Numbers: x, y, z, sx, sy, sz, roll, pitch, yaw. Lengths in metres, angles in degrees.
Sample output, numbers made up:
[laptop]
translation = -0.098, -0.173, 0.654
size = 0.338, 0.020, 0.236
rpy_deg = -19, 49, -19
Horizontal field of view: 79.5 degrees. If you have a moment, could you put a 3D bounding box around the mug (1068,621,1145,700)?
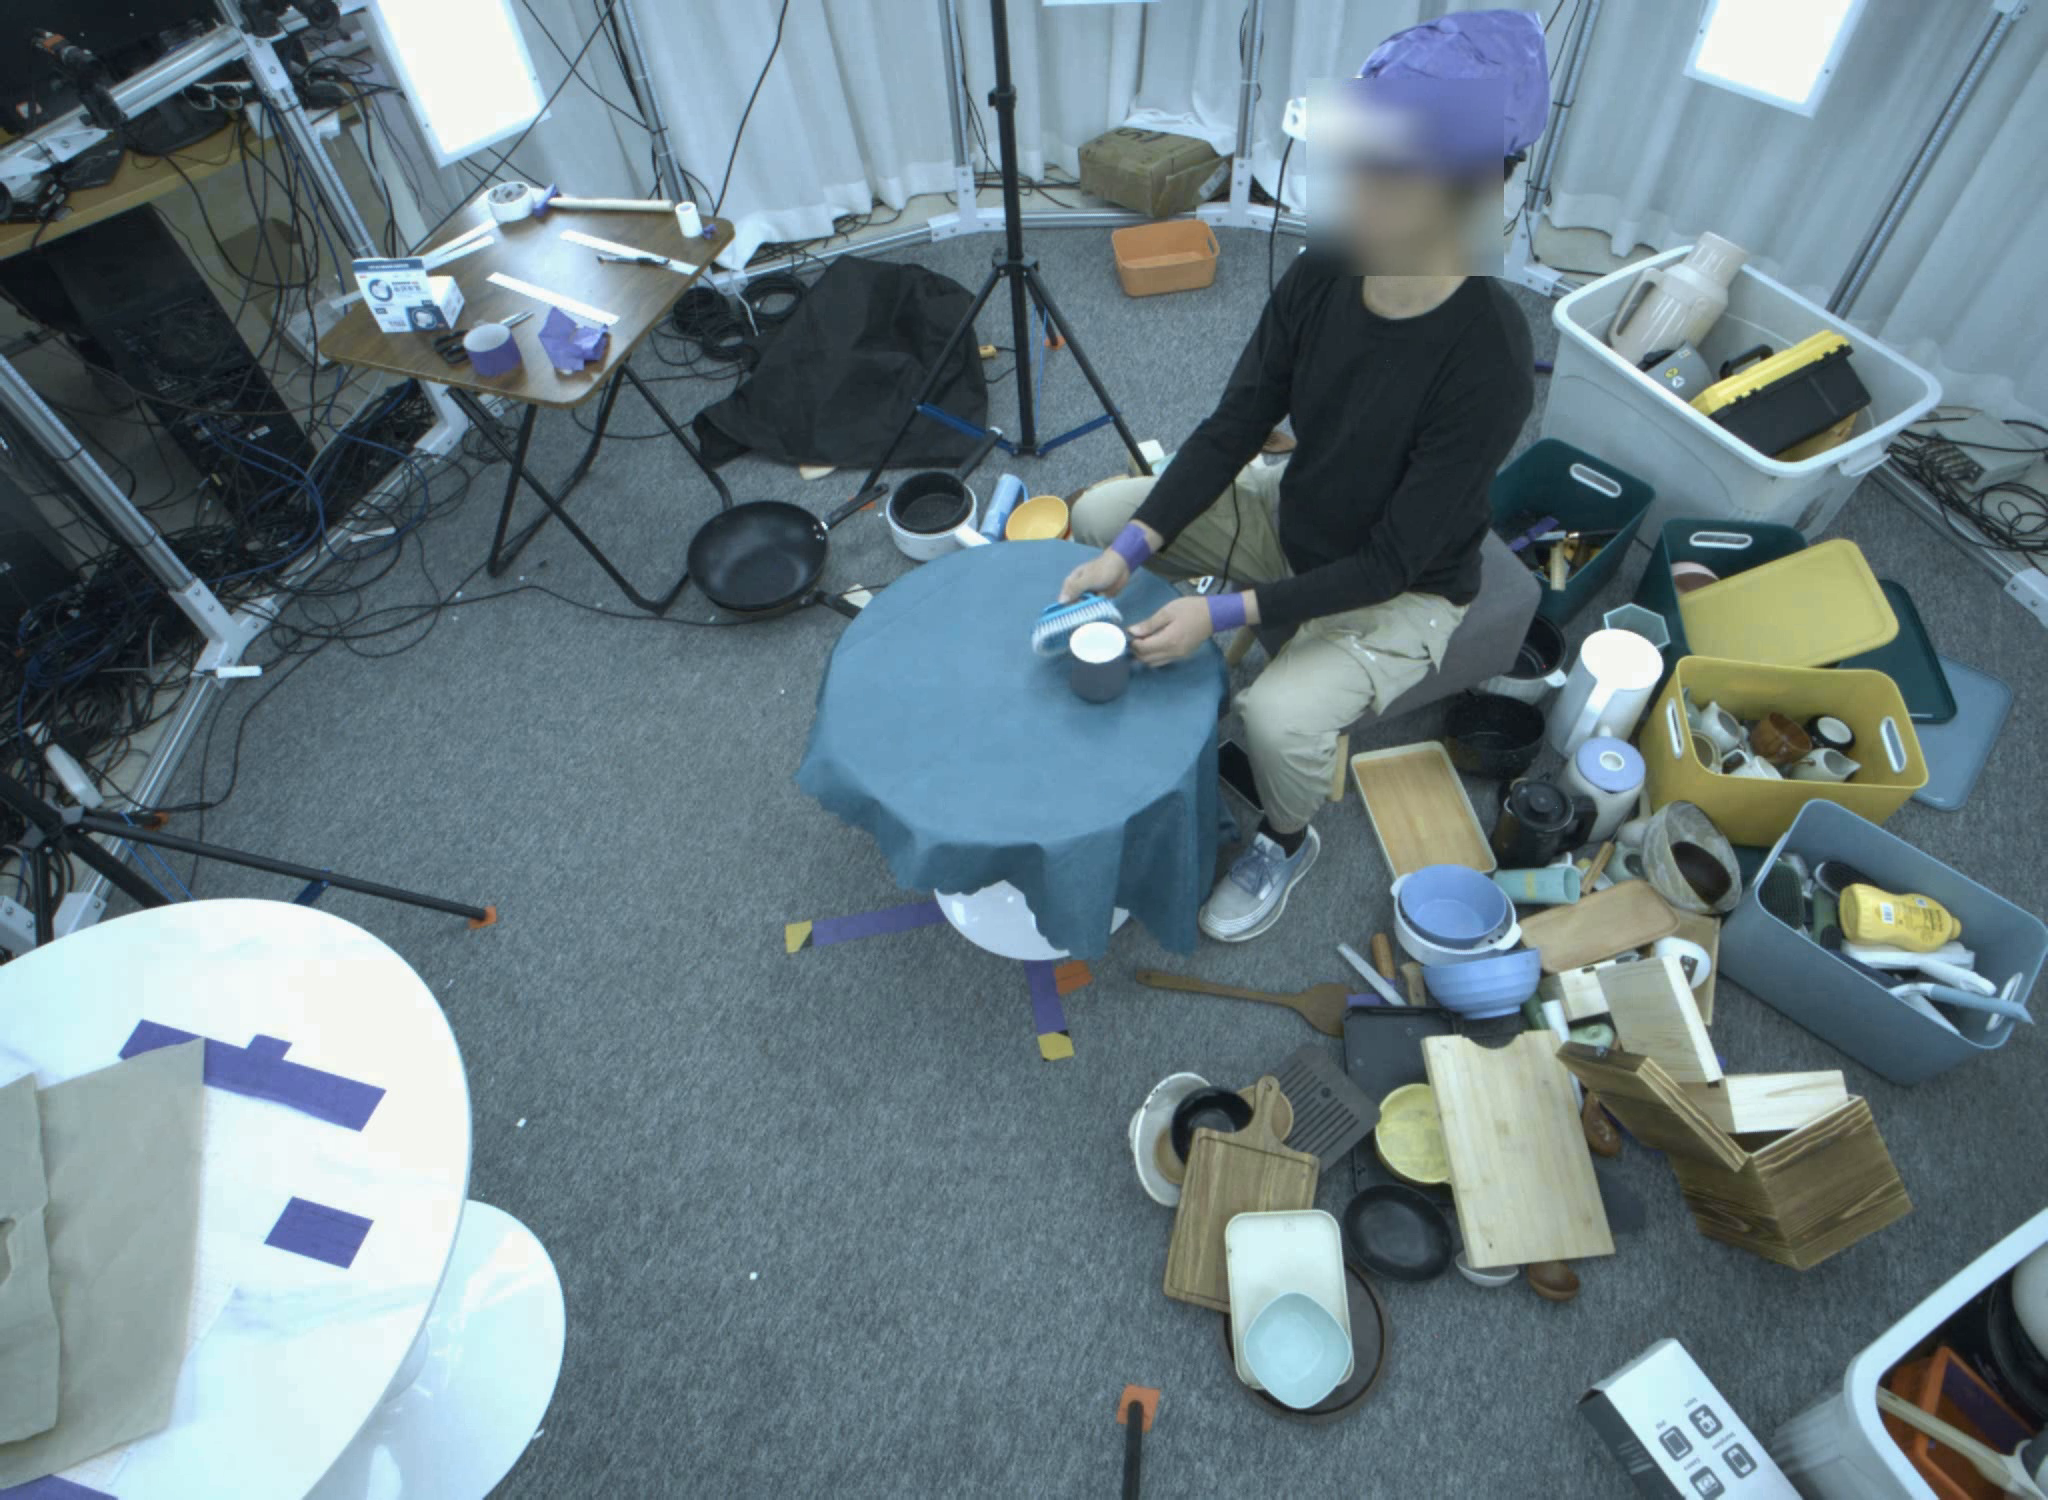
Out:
[mug]
translation = 0.123, -0.138, 1.825
size = 0.124, 0.091, 0.092
rpy_deg = -25, 58, -12

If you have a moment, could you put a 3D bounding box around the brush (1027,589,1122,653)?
[brush]
translation = 0.071, -0.202, 1.839
size = 0.141, 0.085, 0.063
rpy_deg = -20, 64, 5
